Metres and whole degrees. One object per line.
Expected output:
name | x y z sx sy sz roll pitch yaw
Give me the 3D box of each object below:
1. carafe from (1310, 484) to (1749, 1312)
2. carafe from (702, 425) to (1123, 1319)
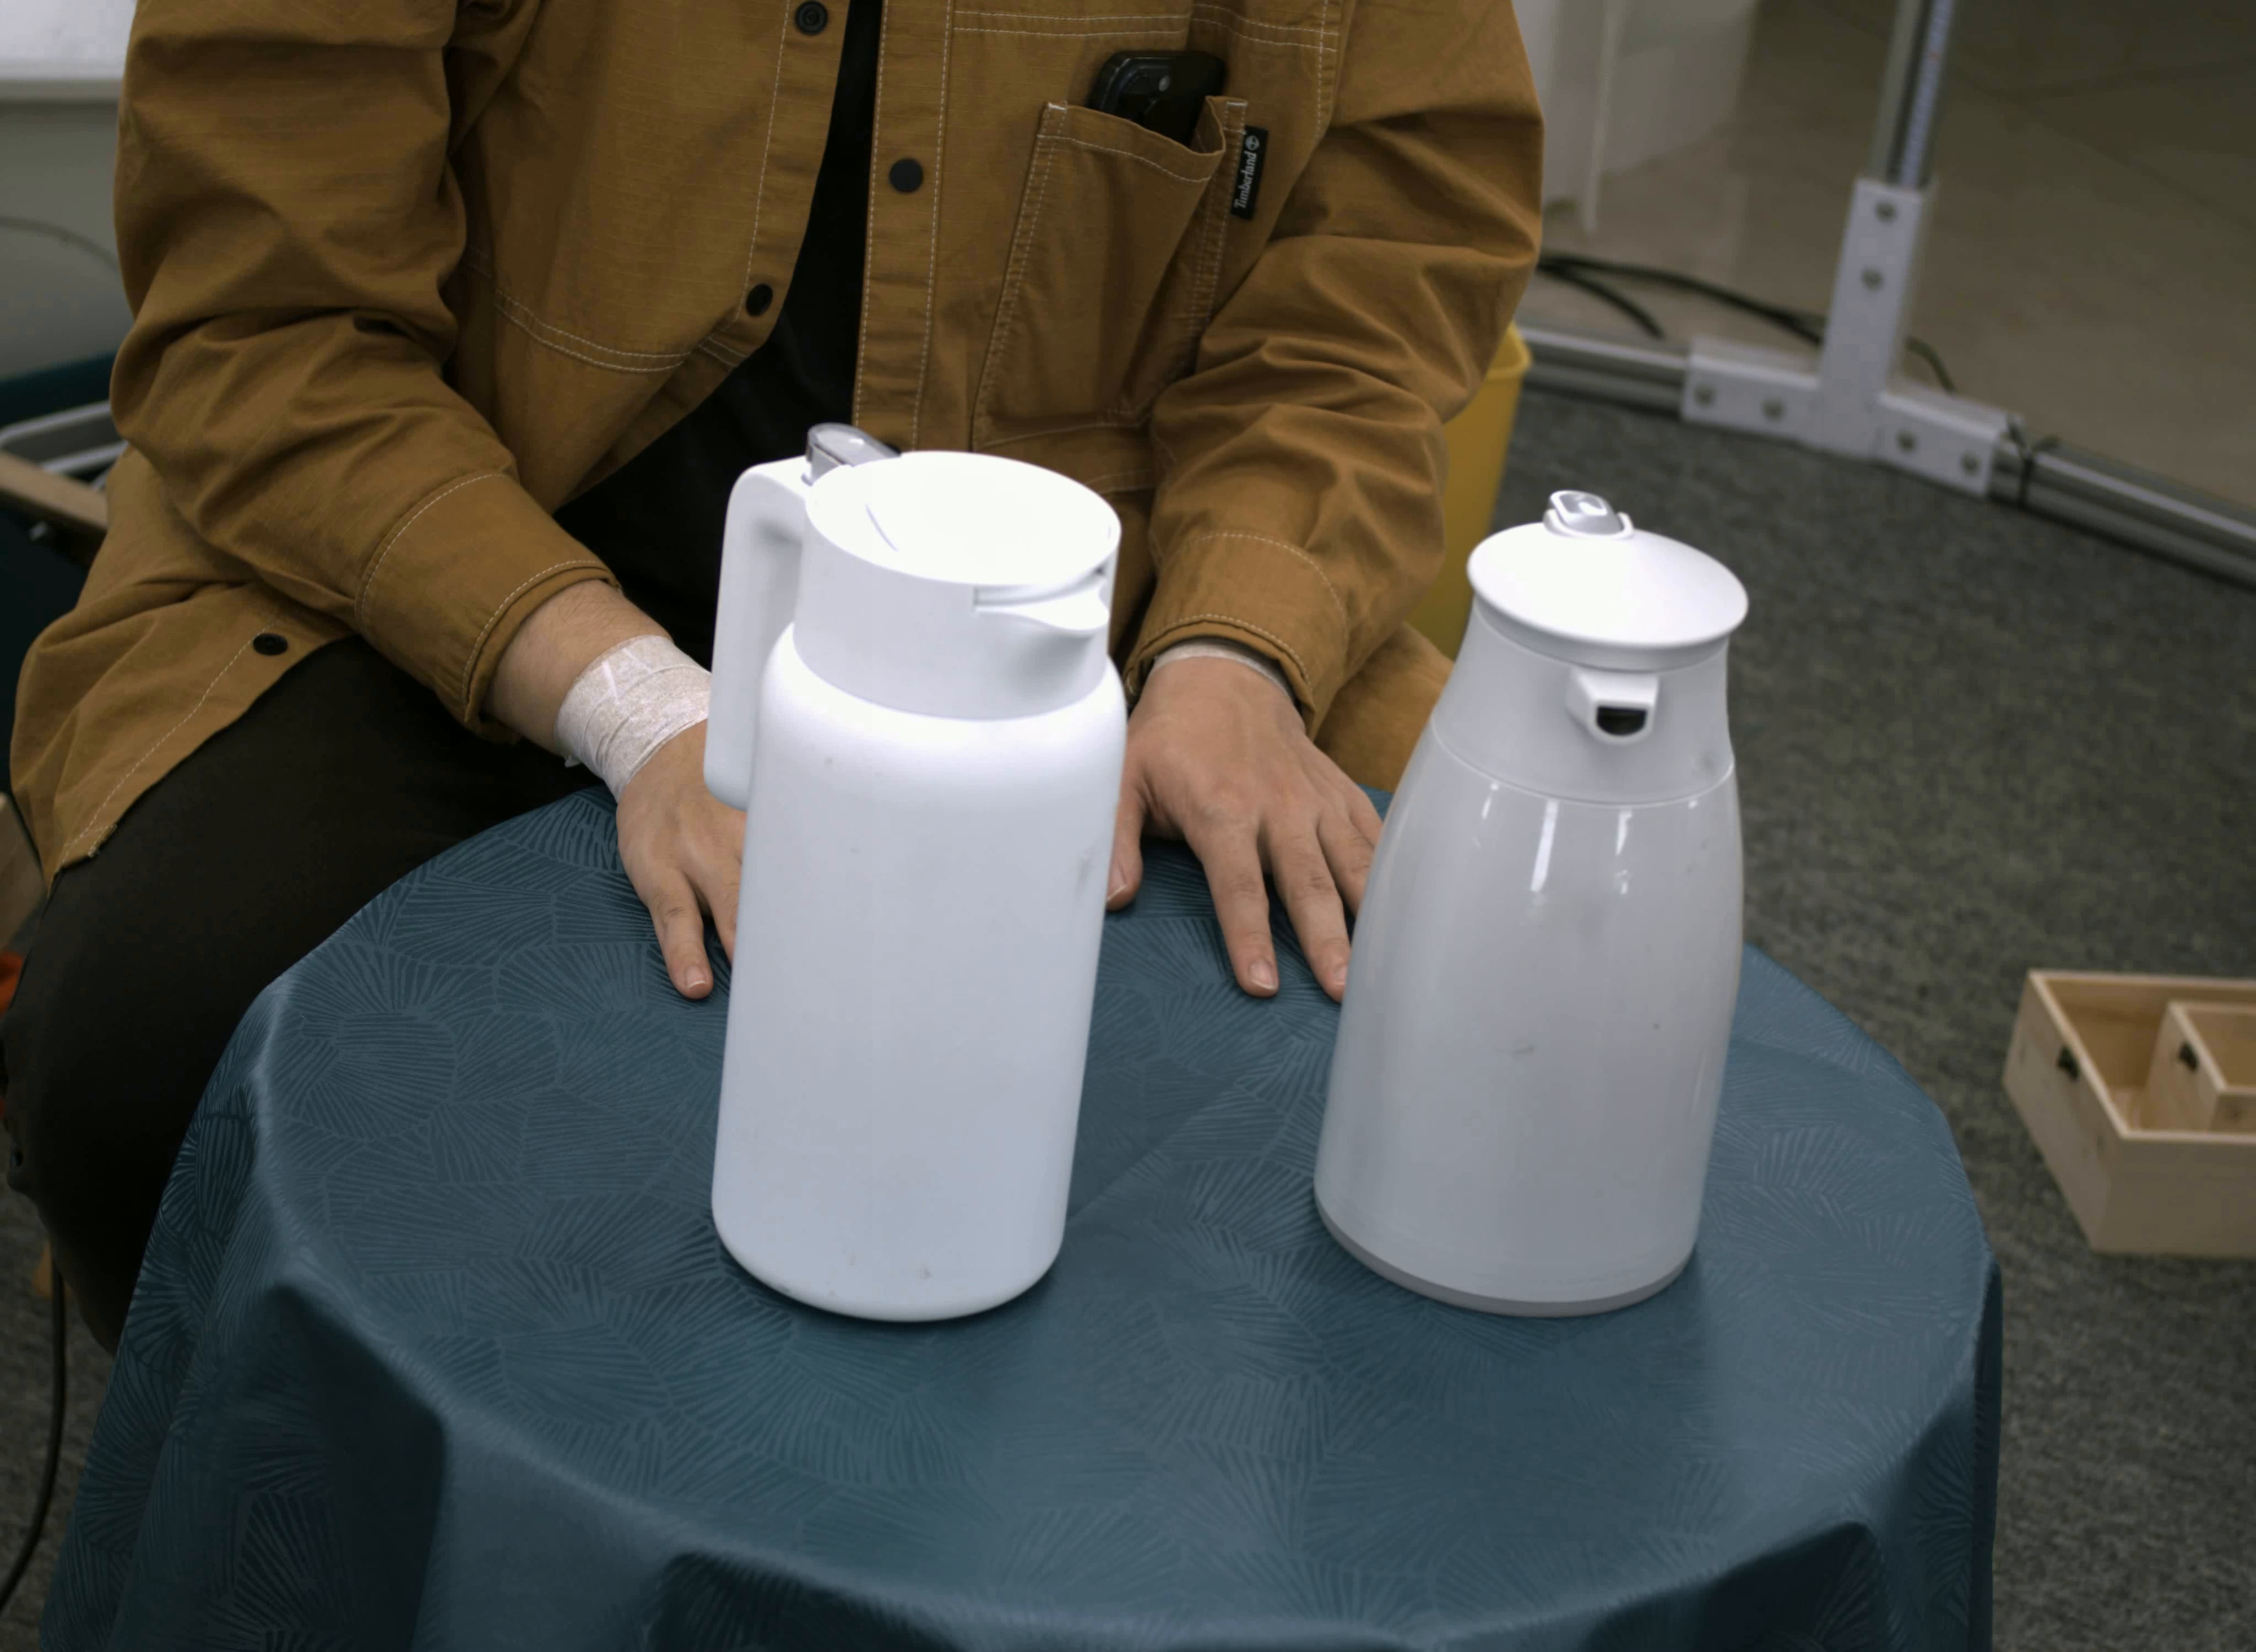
carafe | 0.139 0.013 1.779 0.132 0.248 0.169 4 26 -5
carafe | -0.079 0.011 1.714 0.123 0.268 0.174 -17 35 -36
